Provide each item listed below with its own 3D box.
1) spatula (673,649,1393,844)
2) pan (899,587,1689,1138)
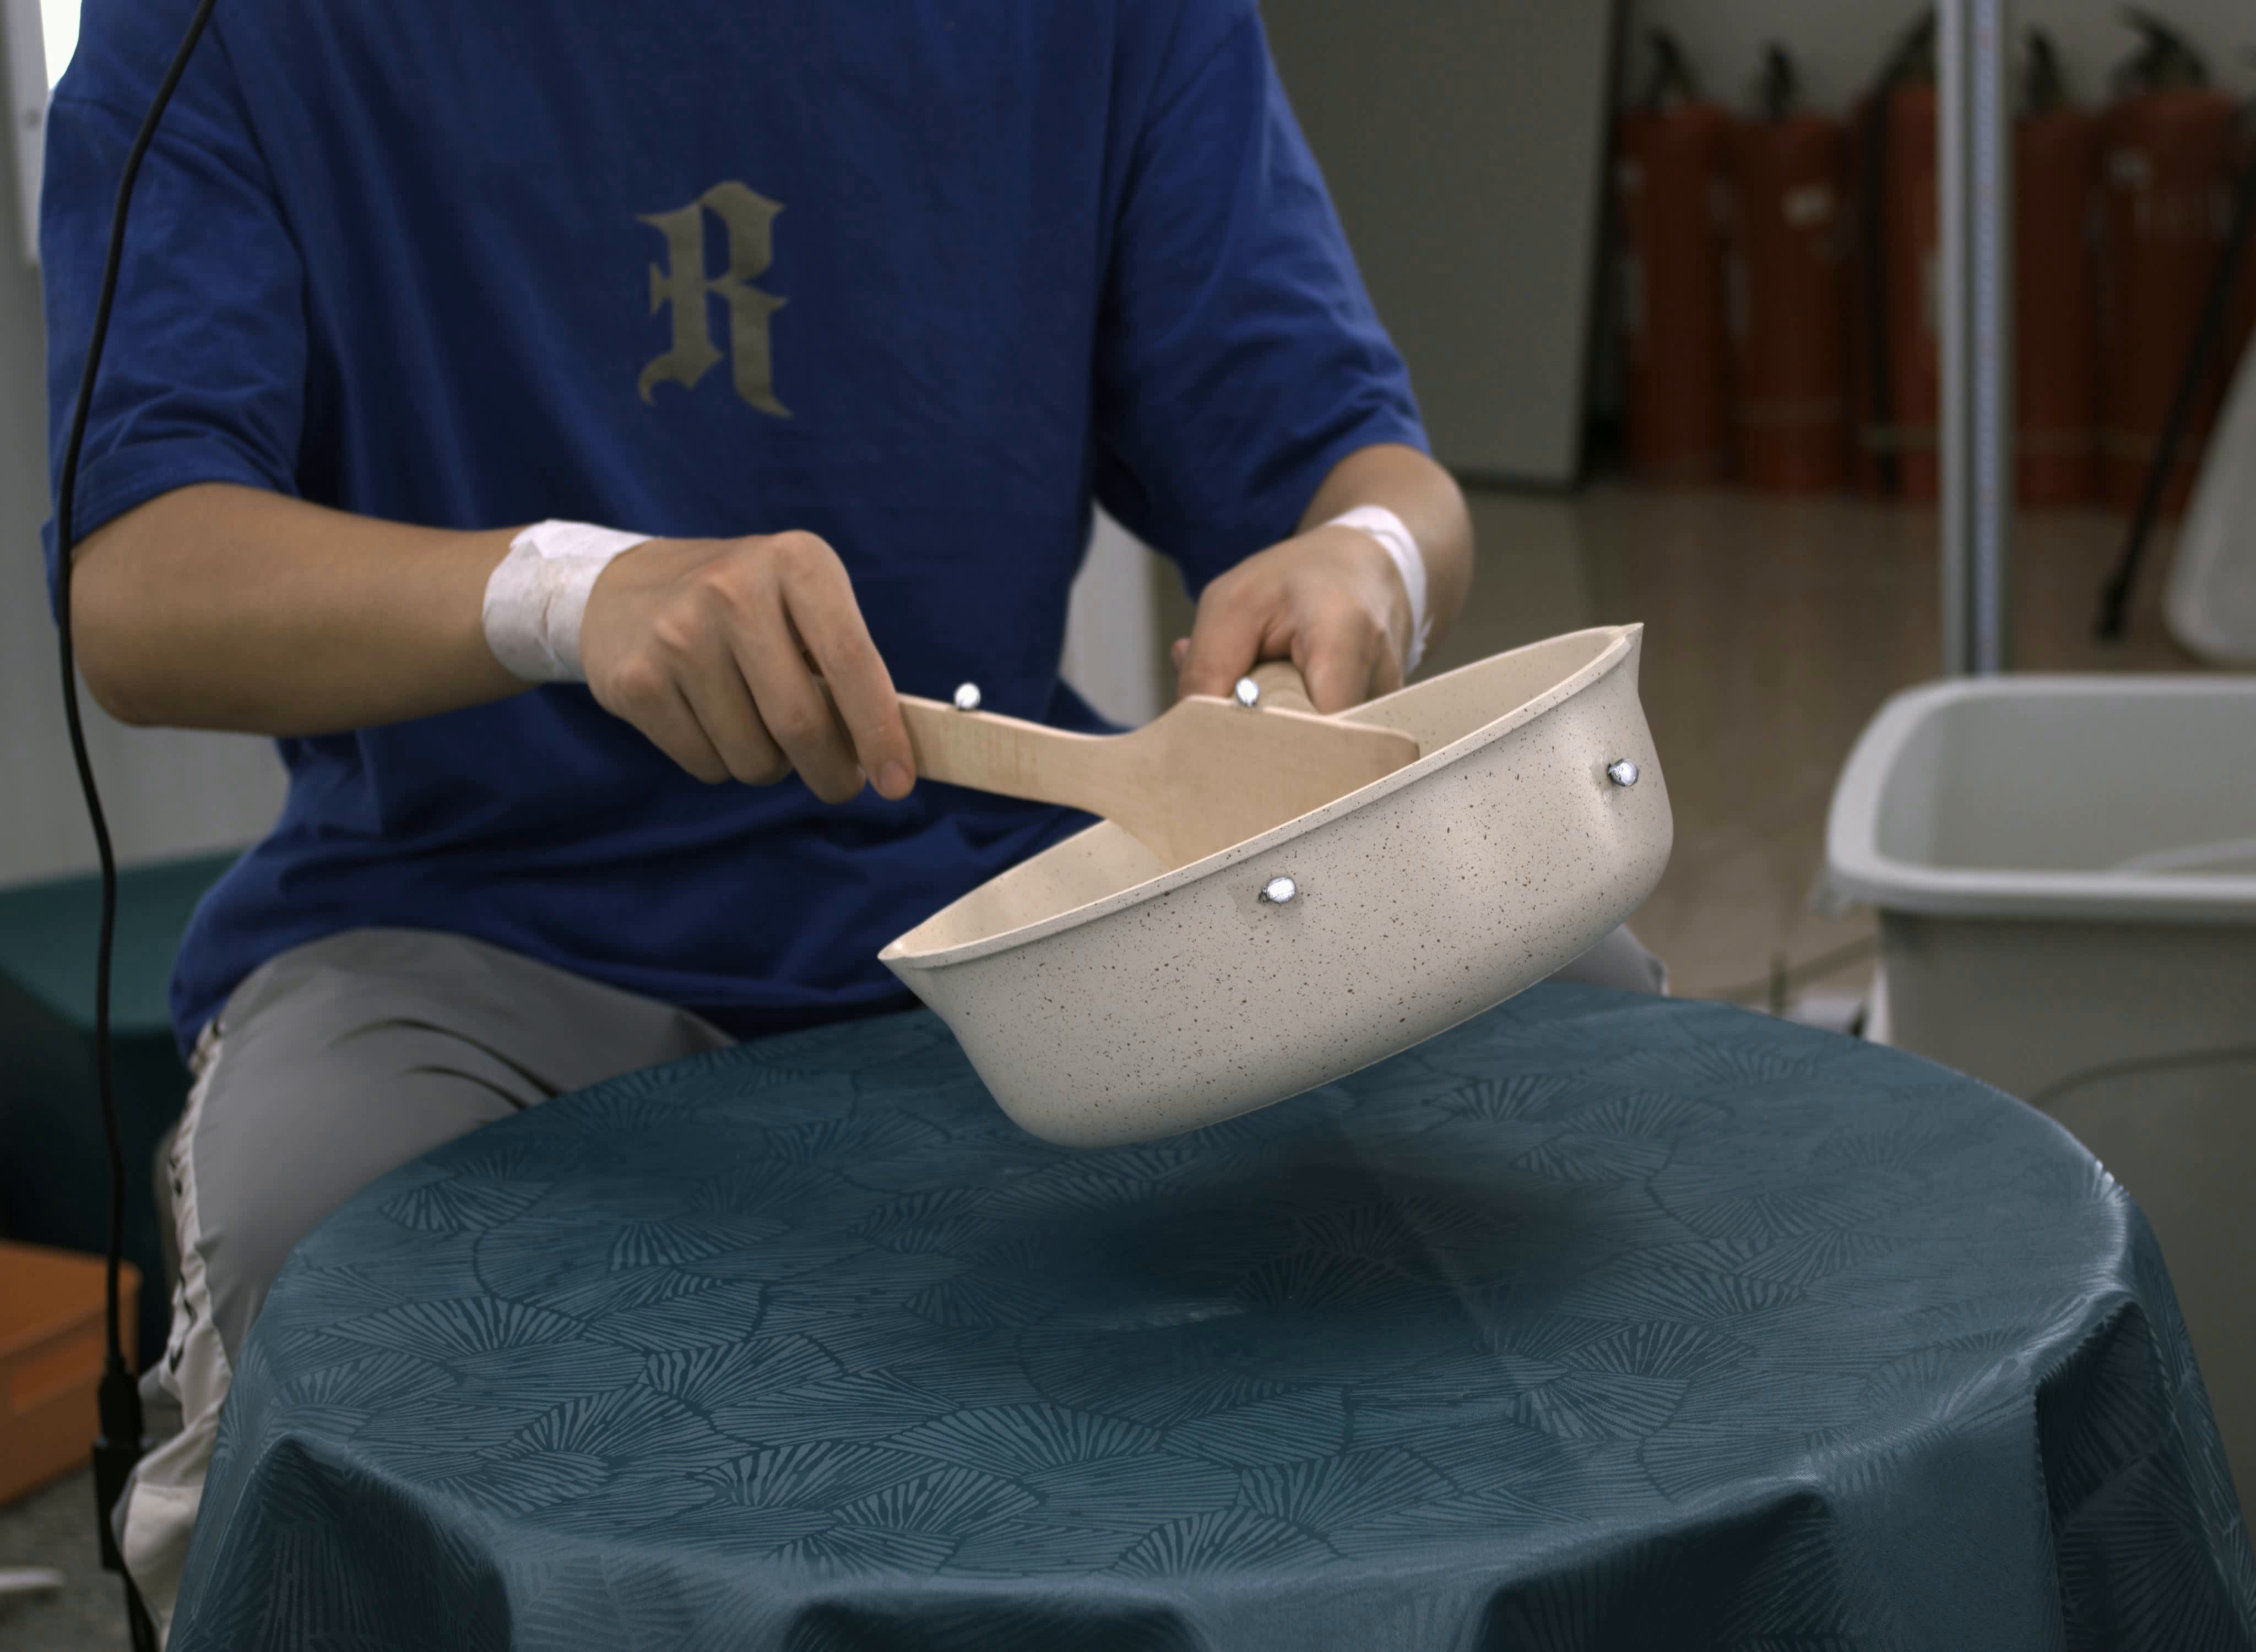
[{"bbox_3d":[-0.035,-0.025,1.754,0.295,0.073,0.010,12,25,34],"label":"spatula"},{"bbox_3d":[0.061,0.003,1.776,0.262,0.102,0.434,-26,4,4],"label":"pan"}]
